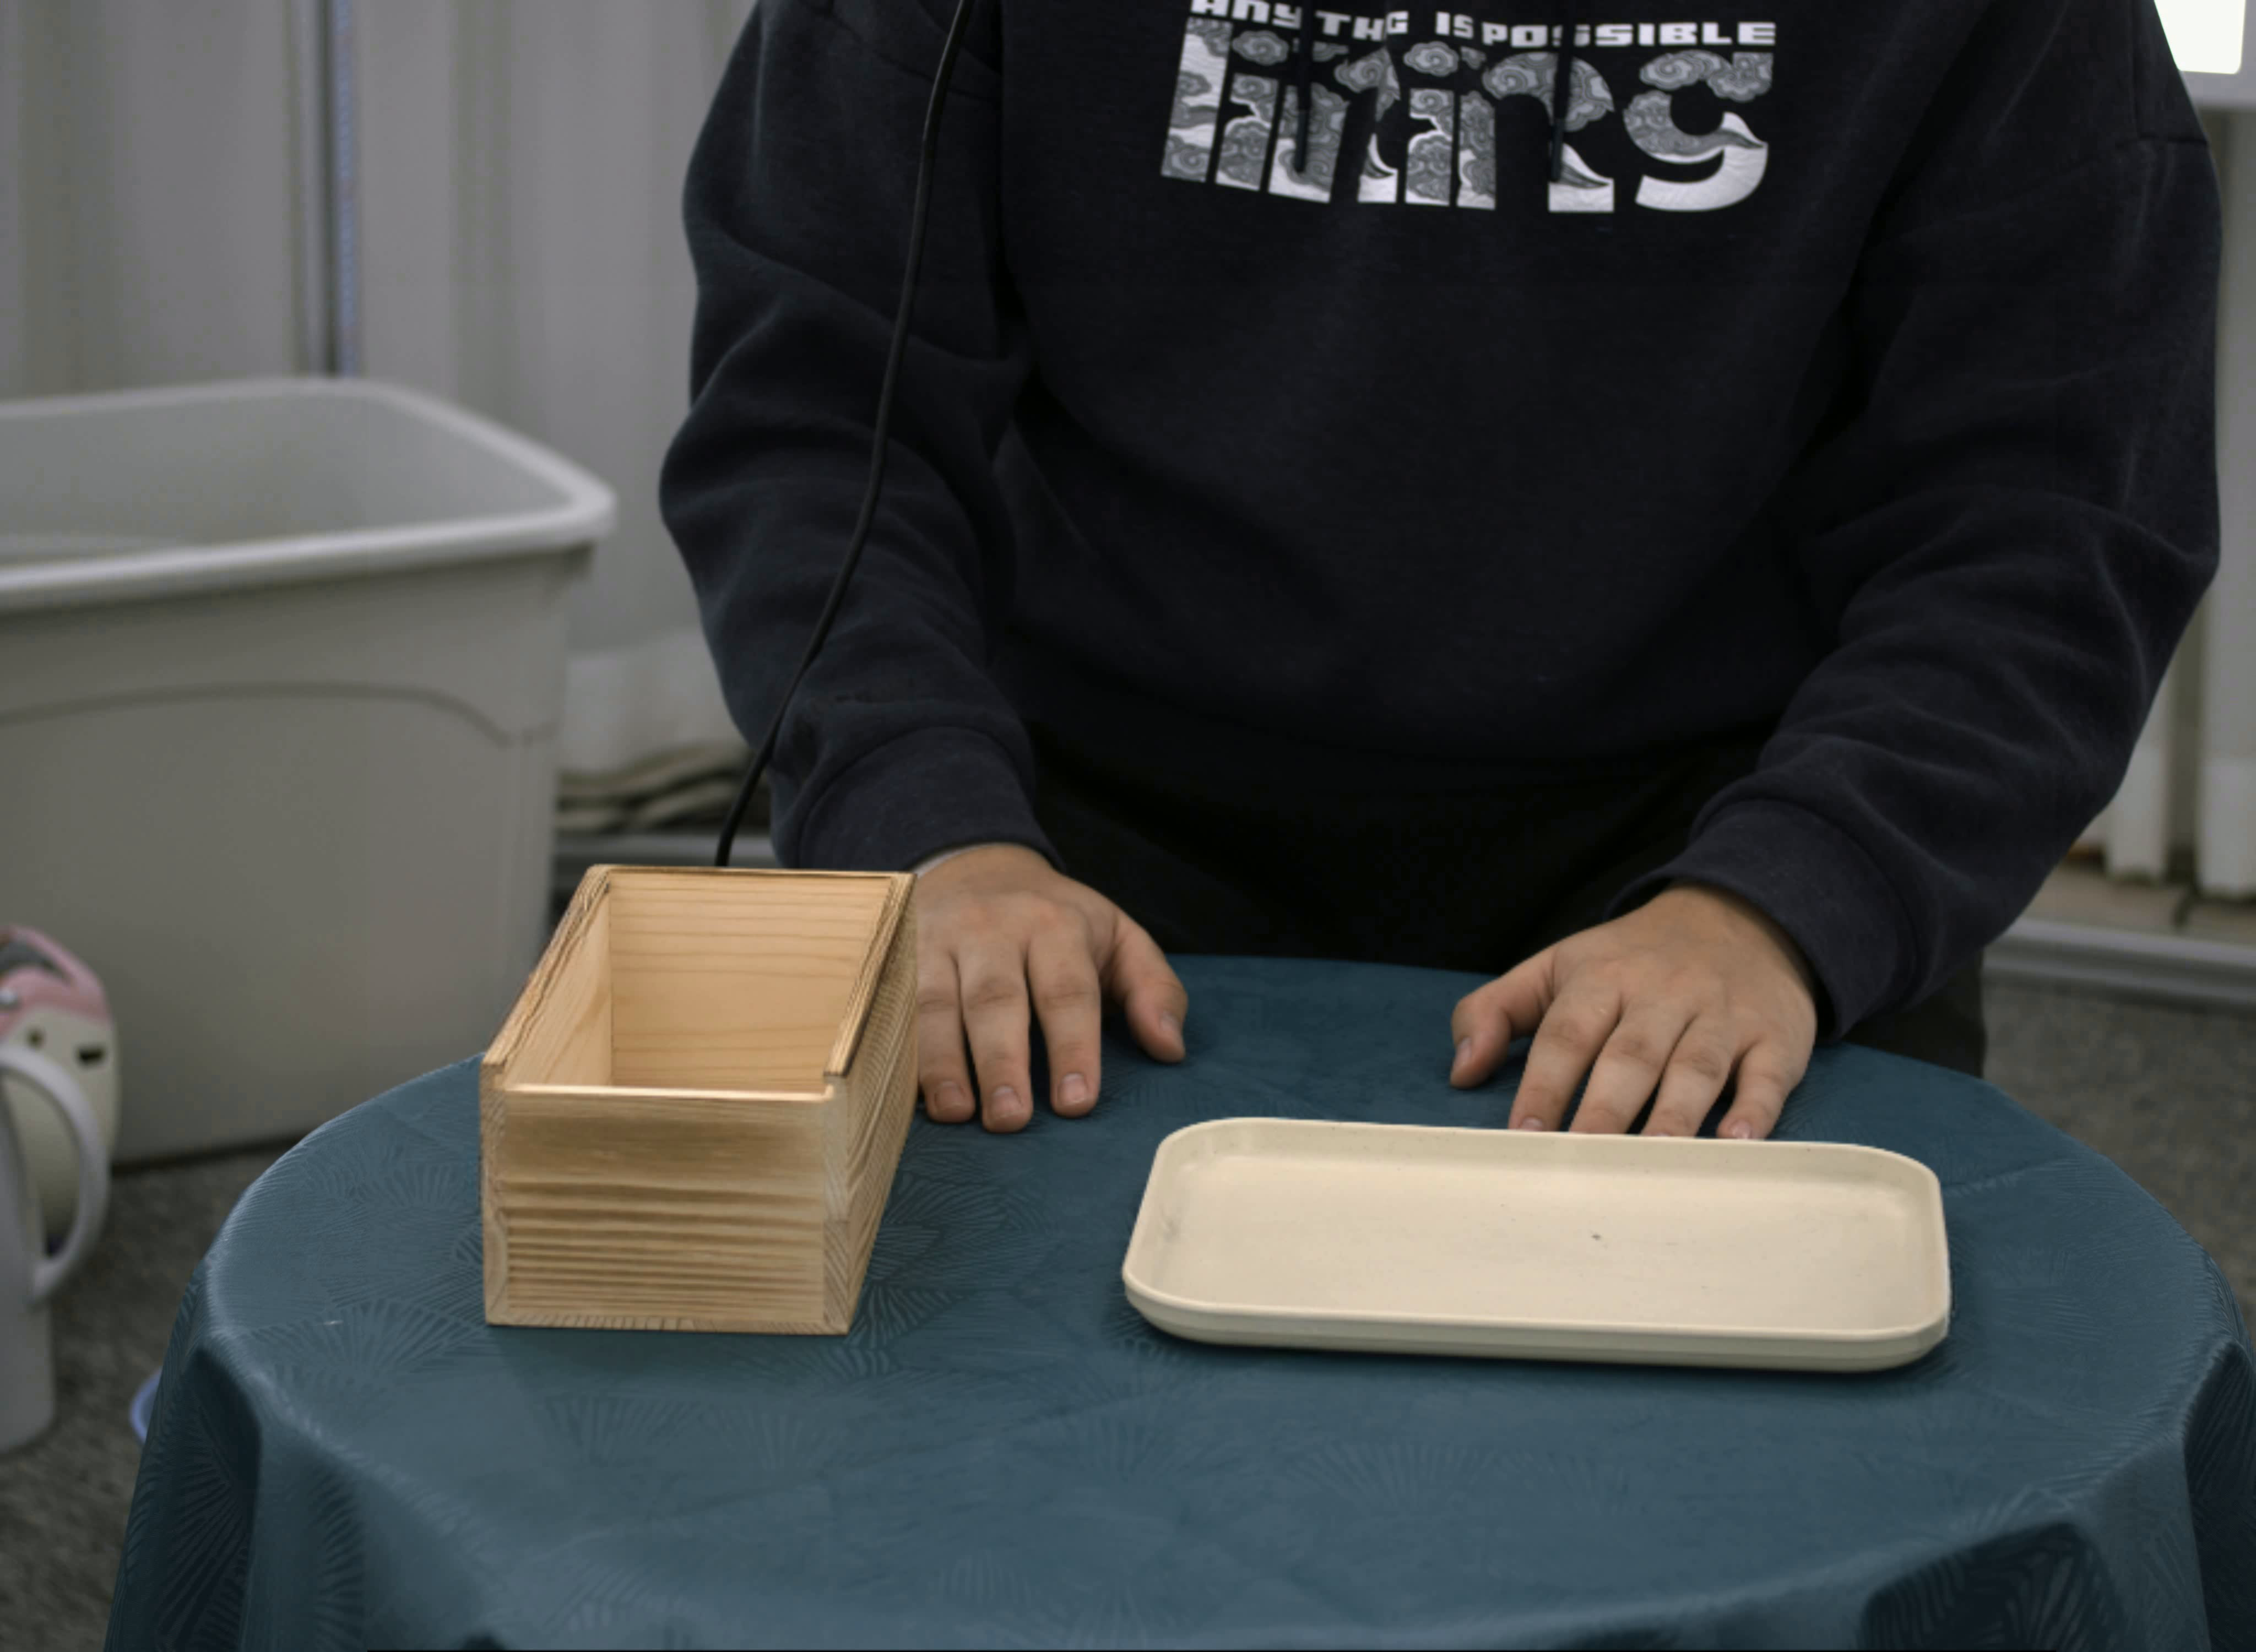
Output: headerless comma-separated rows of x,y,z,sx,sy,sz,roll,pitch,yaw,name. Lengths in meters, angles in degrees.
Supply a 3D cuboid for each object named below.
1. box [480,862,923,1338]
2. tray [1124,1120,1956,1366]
-0.125,0.079,1.592,0.107,0.081,0.210,2,15,2,box
0.122,0.123,1.560,0.238,0.017,0.170,2,15,5,tray
